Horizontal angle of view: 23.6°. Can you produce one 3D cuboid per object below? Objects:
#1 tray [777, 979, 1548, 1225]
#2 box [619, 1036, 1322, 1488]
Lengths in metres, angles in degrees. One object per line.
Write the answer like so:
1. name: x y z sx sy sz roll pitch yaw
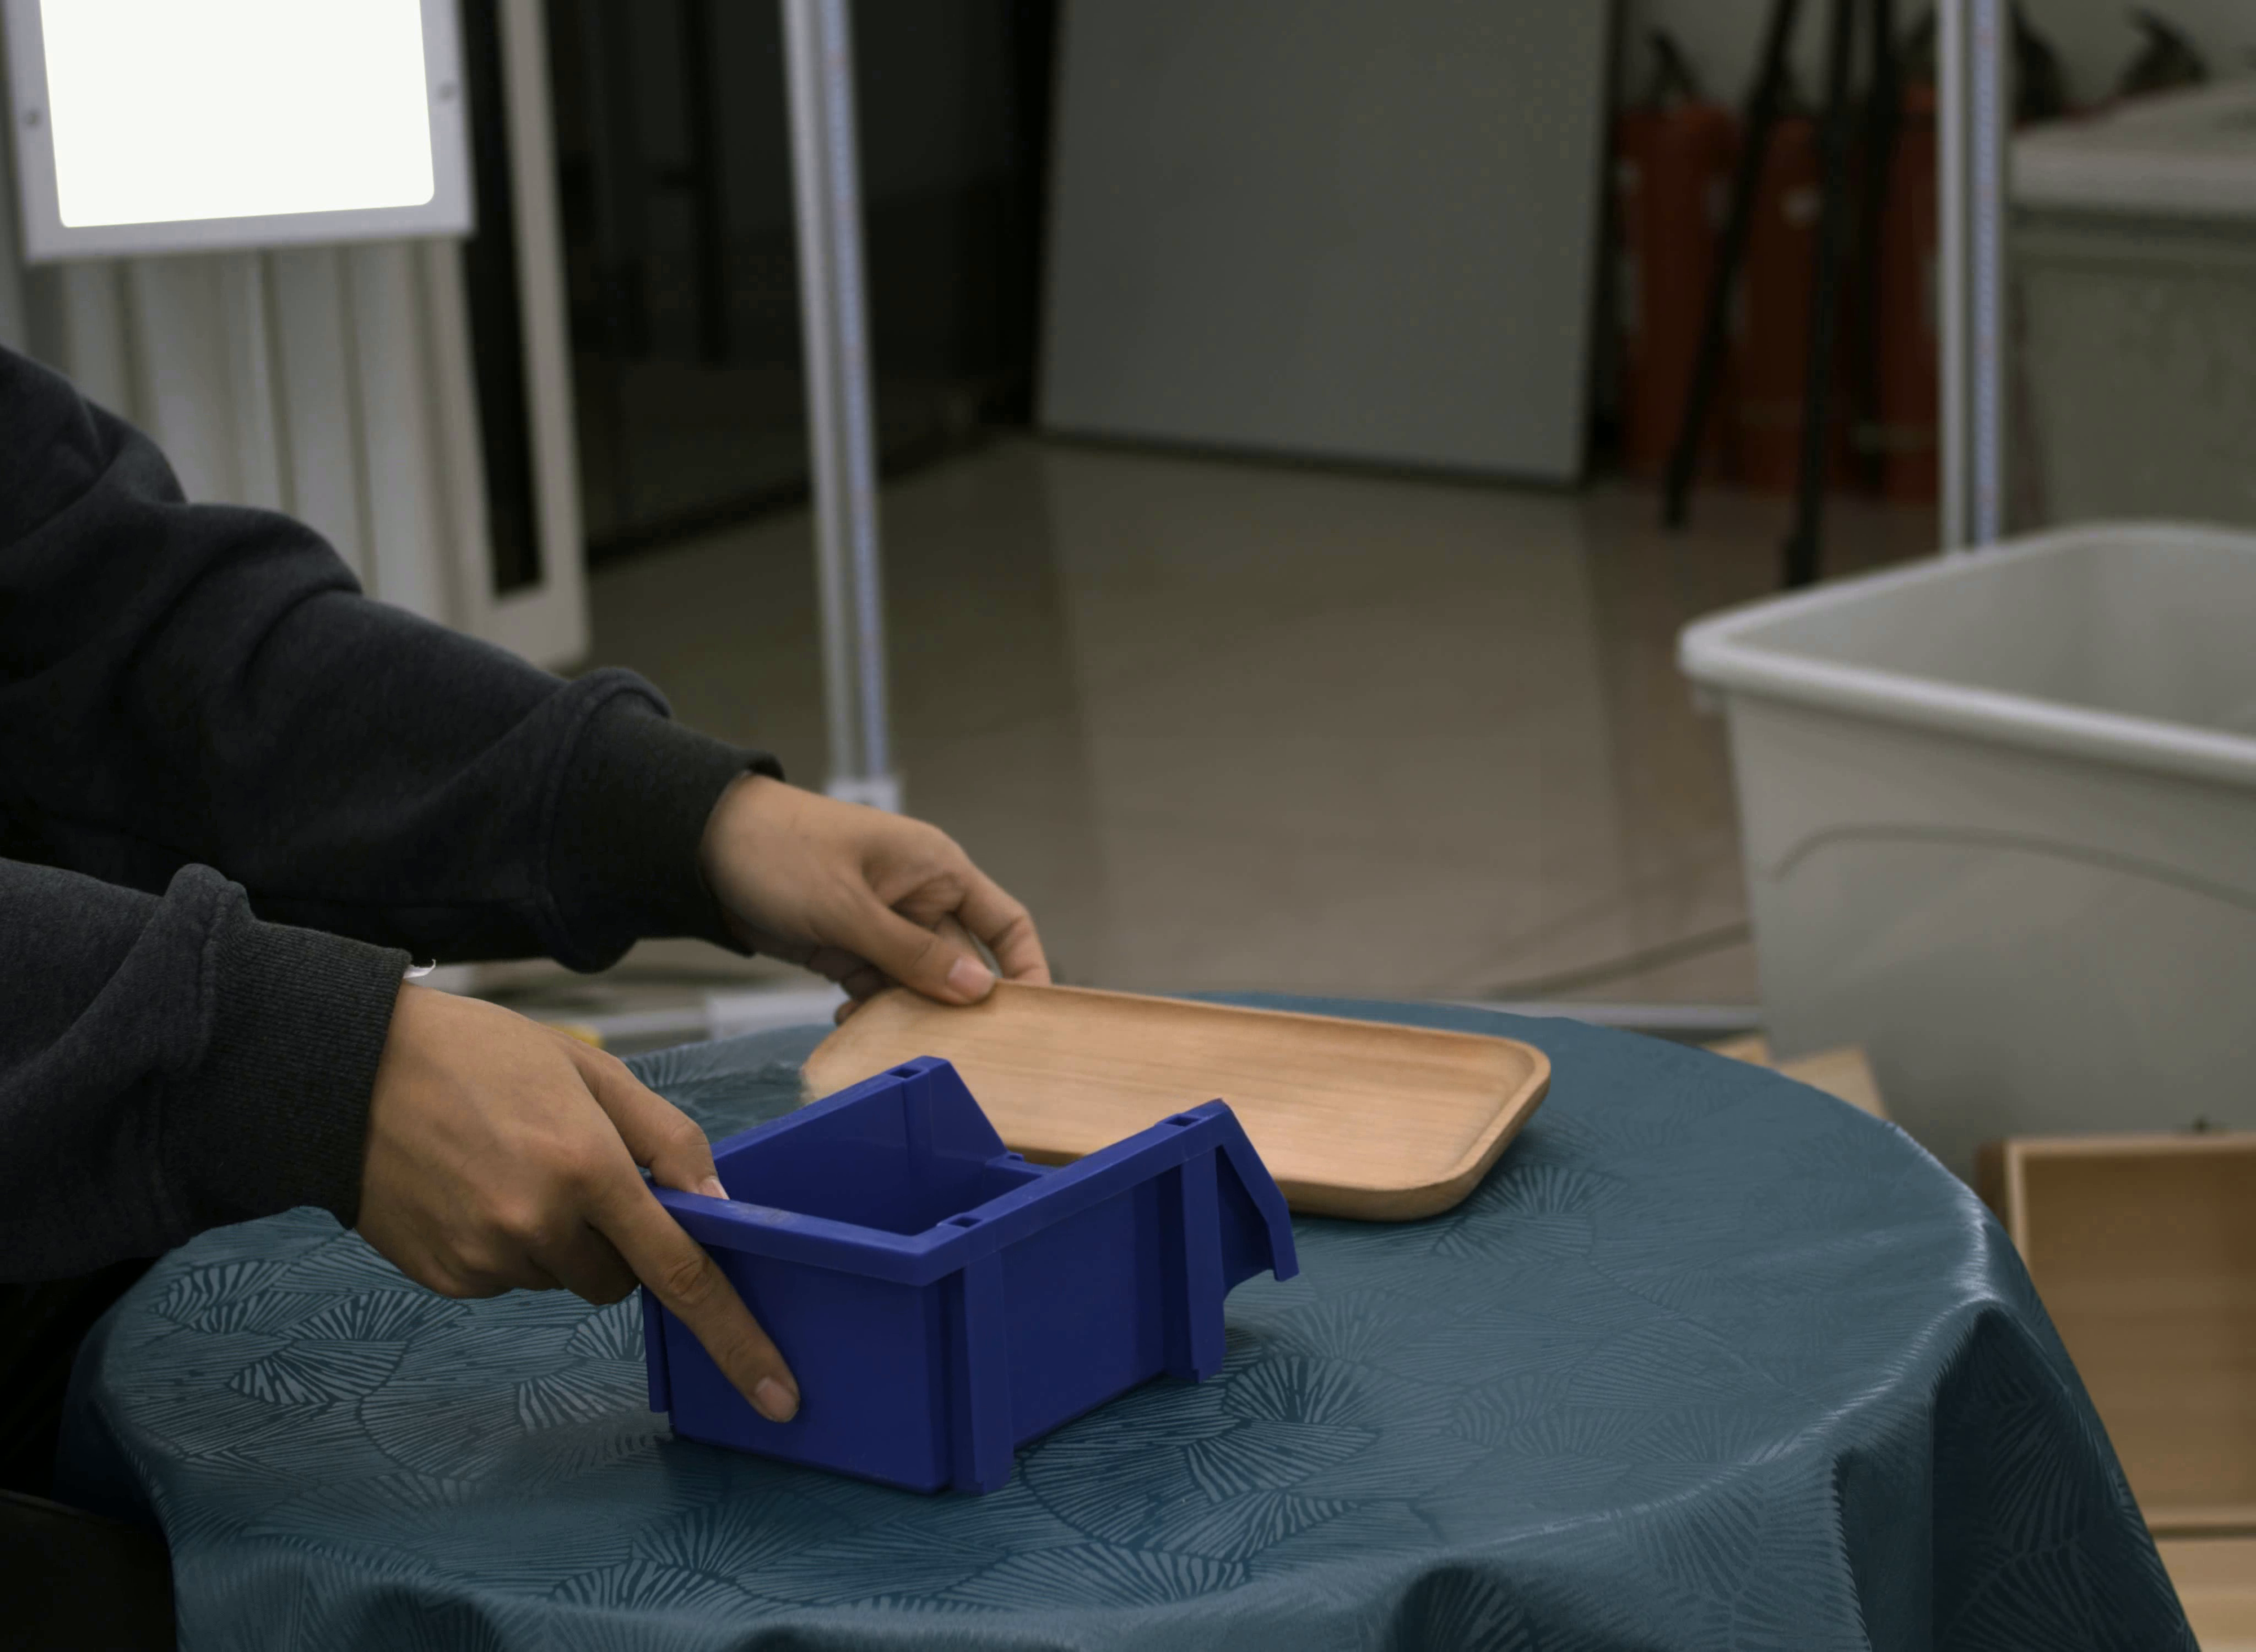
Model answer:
1. tray: 0.011 0.091 1.805 0.251 0.023 0.129 4 21 25
2. box: -0.045 0.124 1.595 0.125 0.083 0.176 7 21 39
